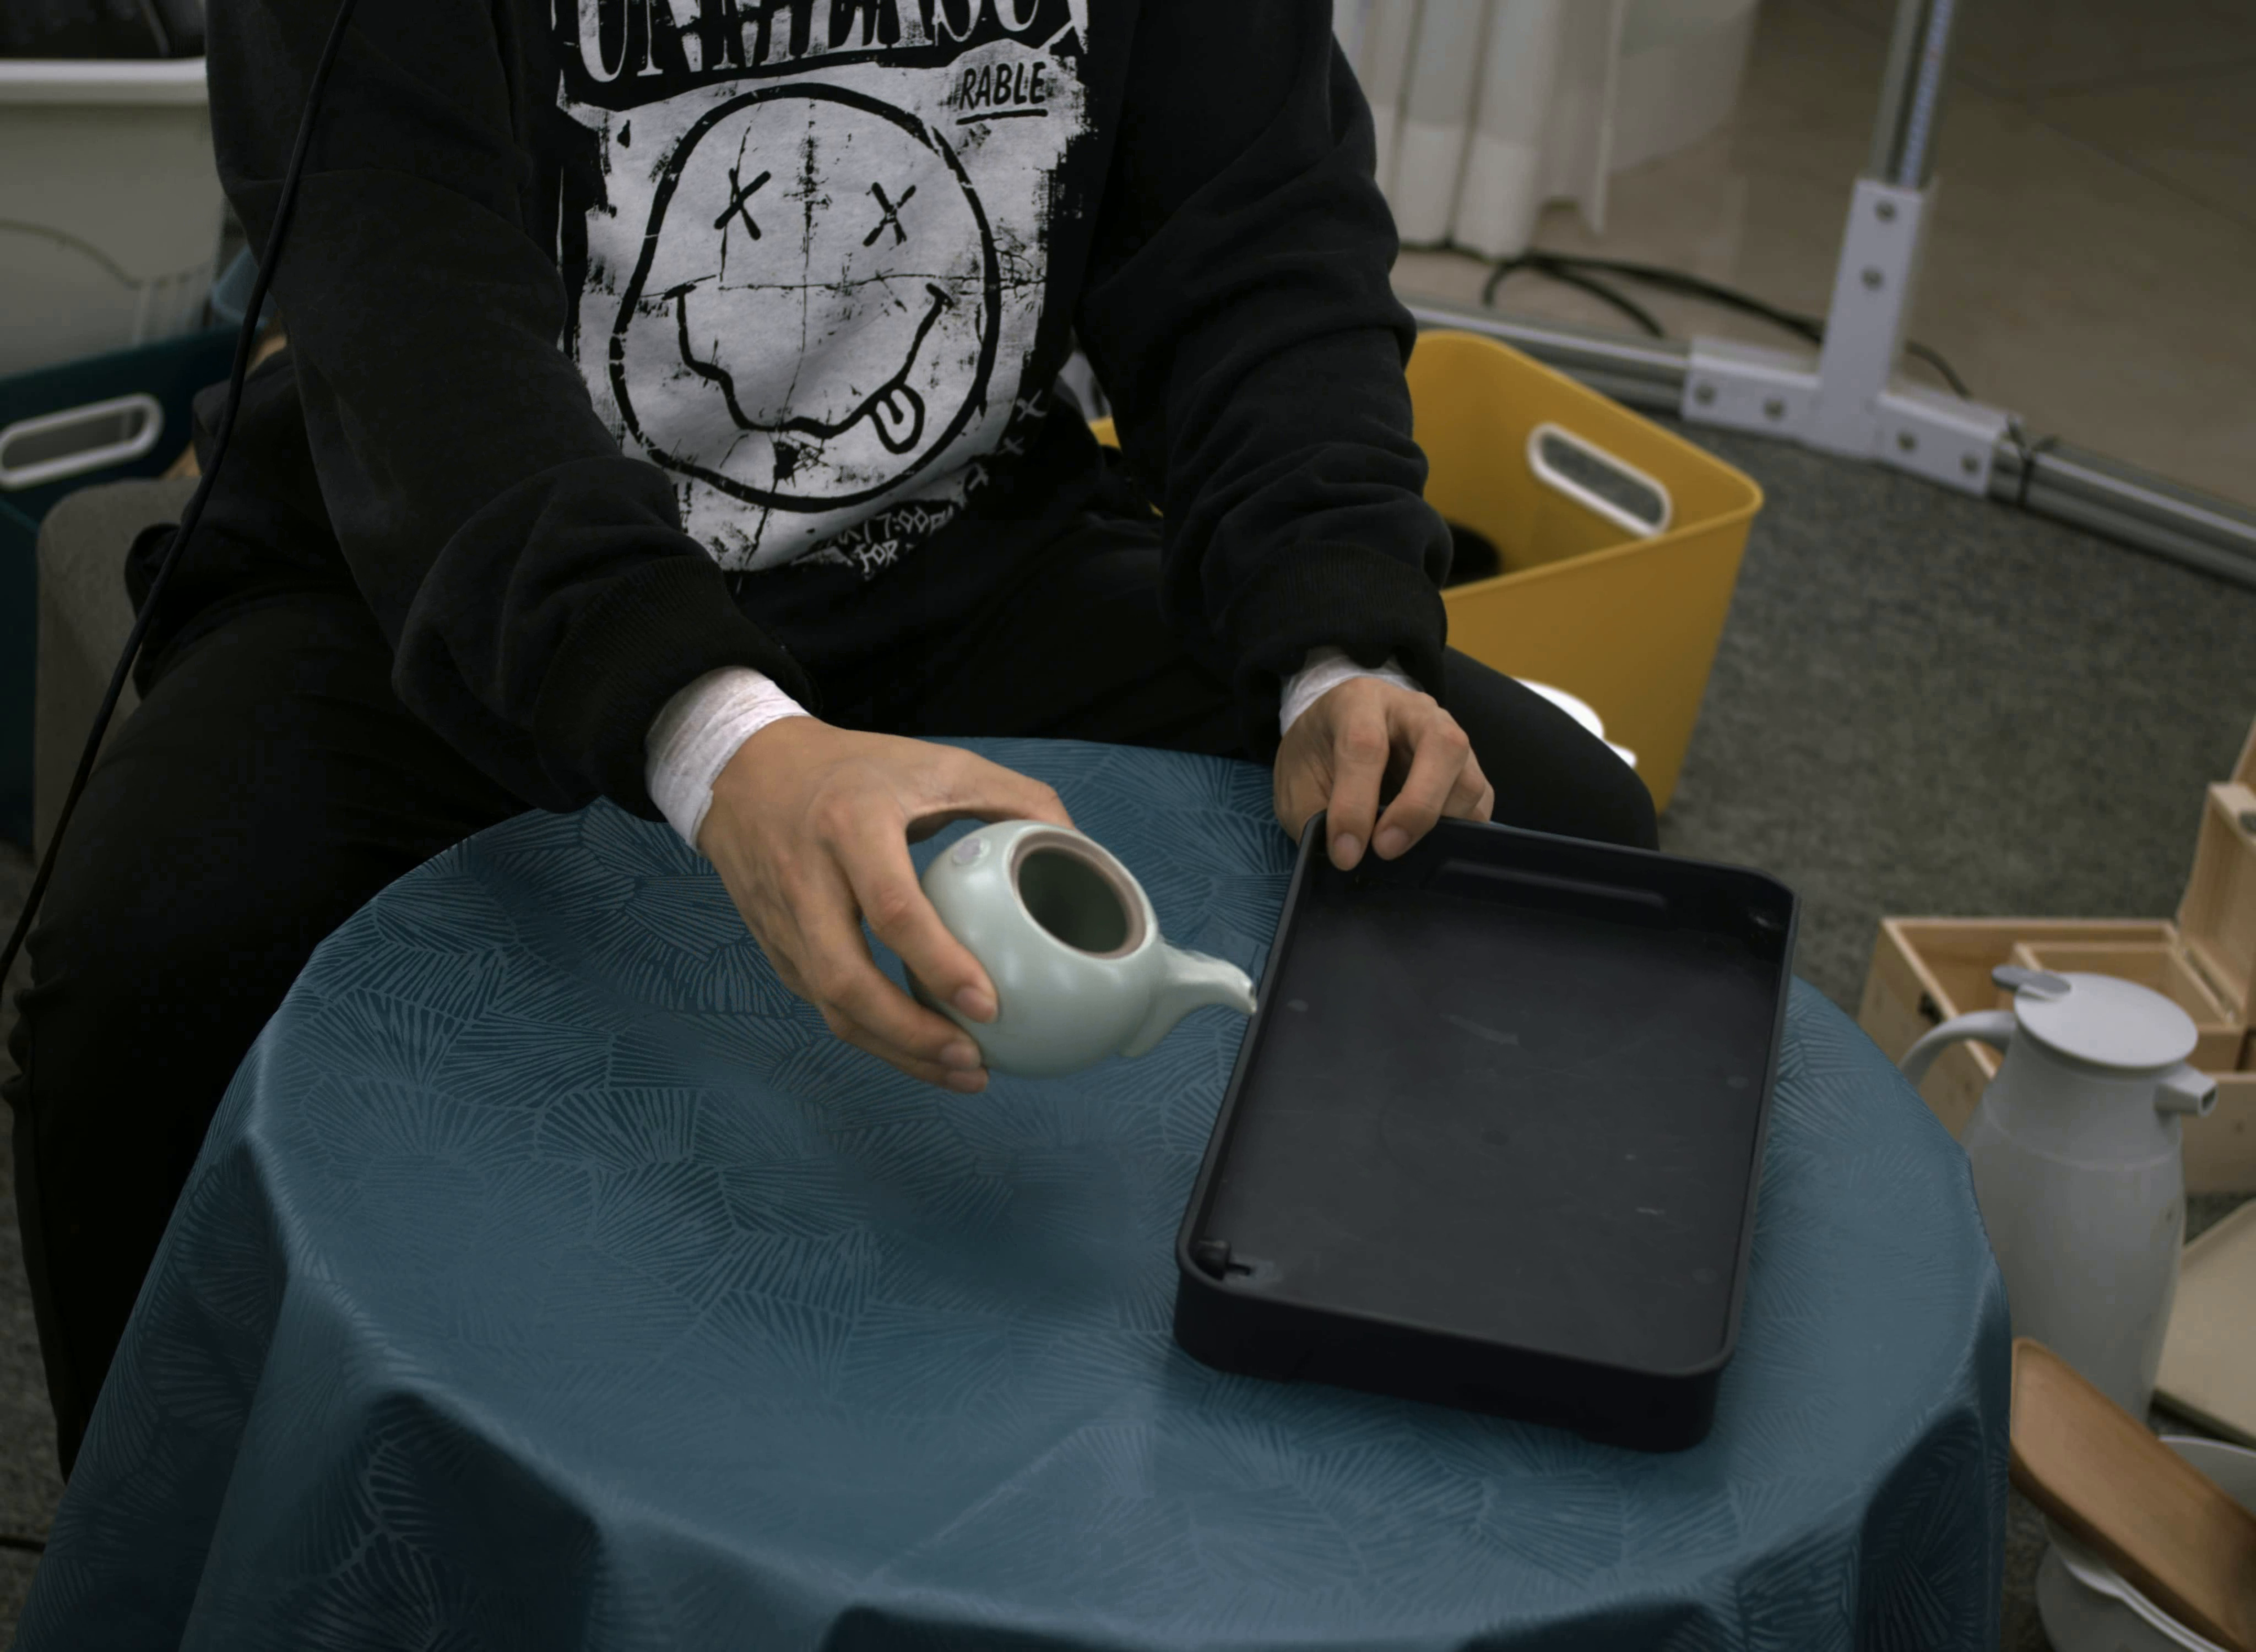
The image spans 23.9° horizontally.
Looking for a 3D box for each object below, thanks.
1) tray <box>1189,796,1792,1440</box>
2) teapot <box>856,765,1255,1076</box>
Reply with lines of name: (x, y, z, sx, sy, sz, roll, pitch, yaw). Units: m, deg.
tray: (0.129, 0.093, 1.830, 0.184, 0.037, 0.319, 8, 31, 5)
teapot: (-0.033, 0.039, 1.761, 0.143, 0.074, 0.089, 35, 36, -11)
